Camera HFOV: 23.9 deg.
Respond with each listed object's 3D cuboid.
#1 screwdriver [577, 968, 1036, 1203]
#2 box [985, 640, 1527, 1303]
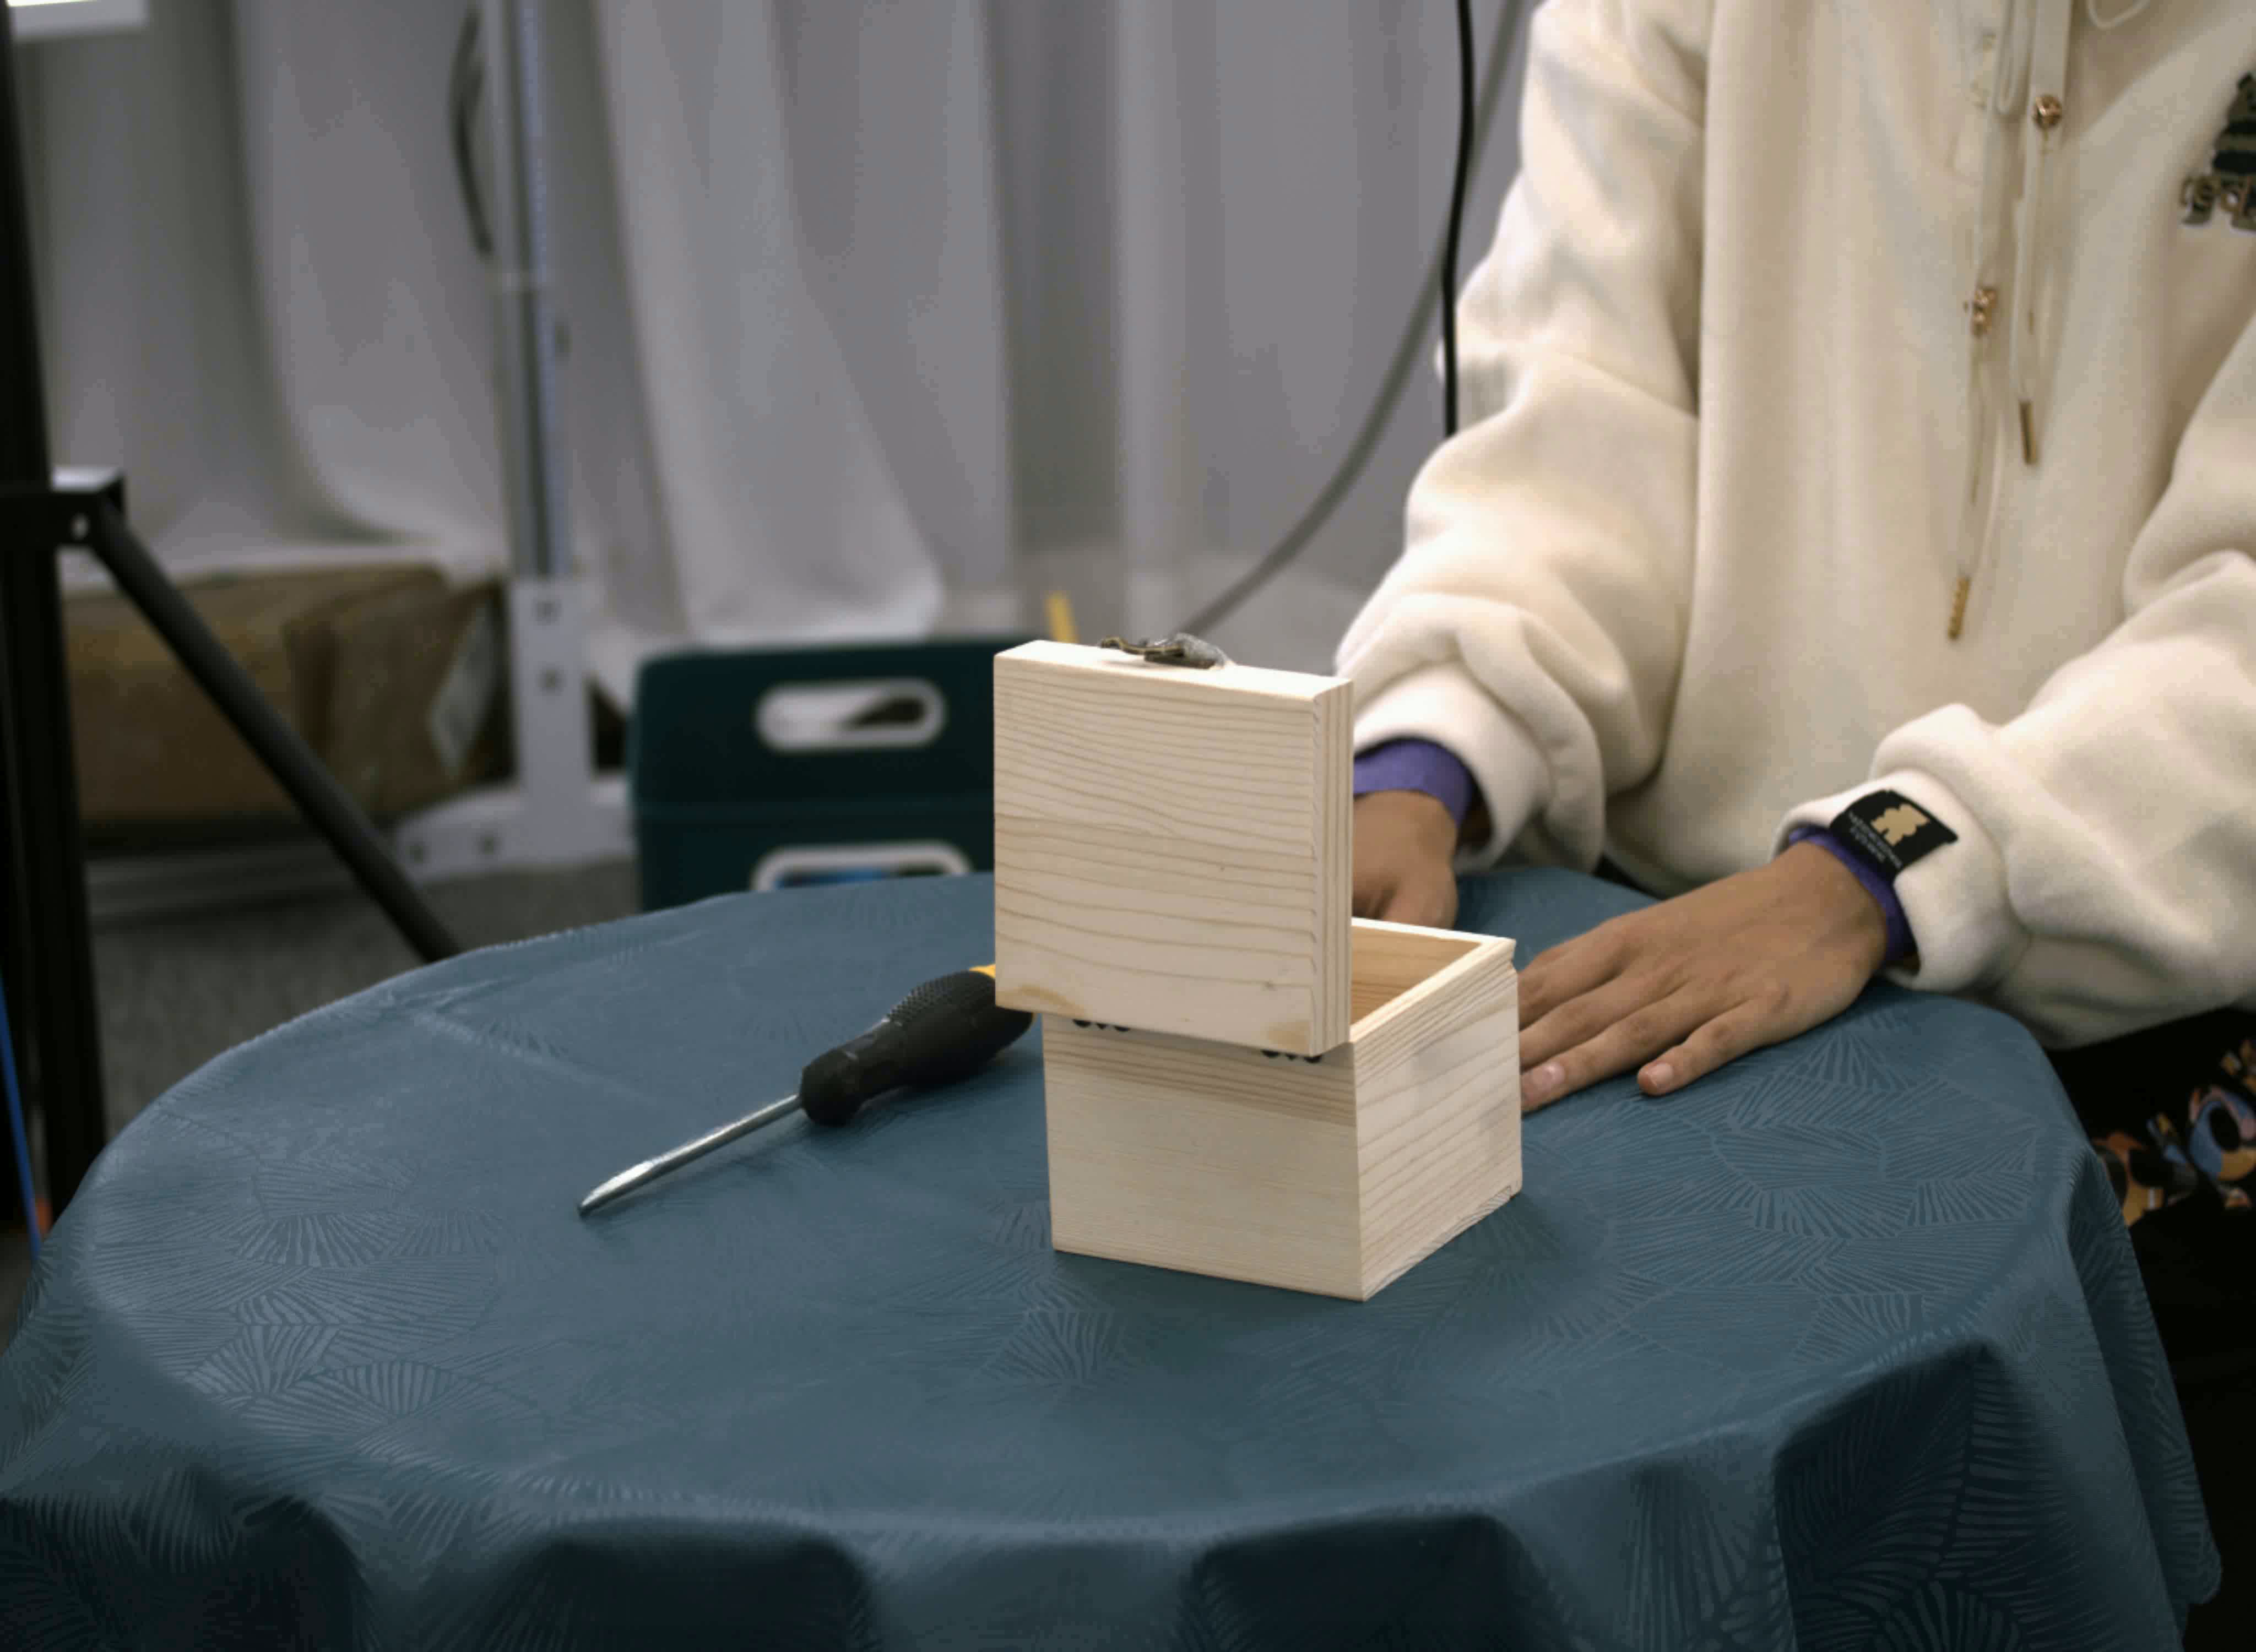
[{"bbox_3d":[-0.099,0.081,1.628,0.032,0.031,0.193,13,24,43],"label":"screwdriver"},{"bbox_3d":[0.039,0.029,1.495,0.104,0.184,0.131,6,18,31],"label":"box"}]
